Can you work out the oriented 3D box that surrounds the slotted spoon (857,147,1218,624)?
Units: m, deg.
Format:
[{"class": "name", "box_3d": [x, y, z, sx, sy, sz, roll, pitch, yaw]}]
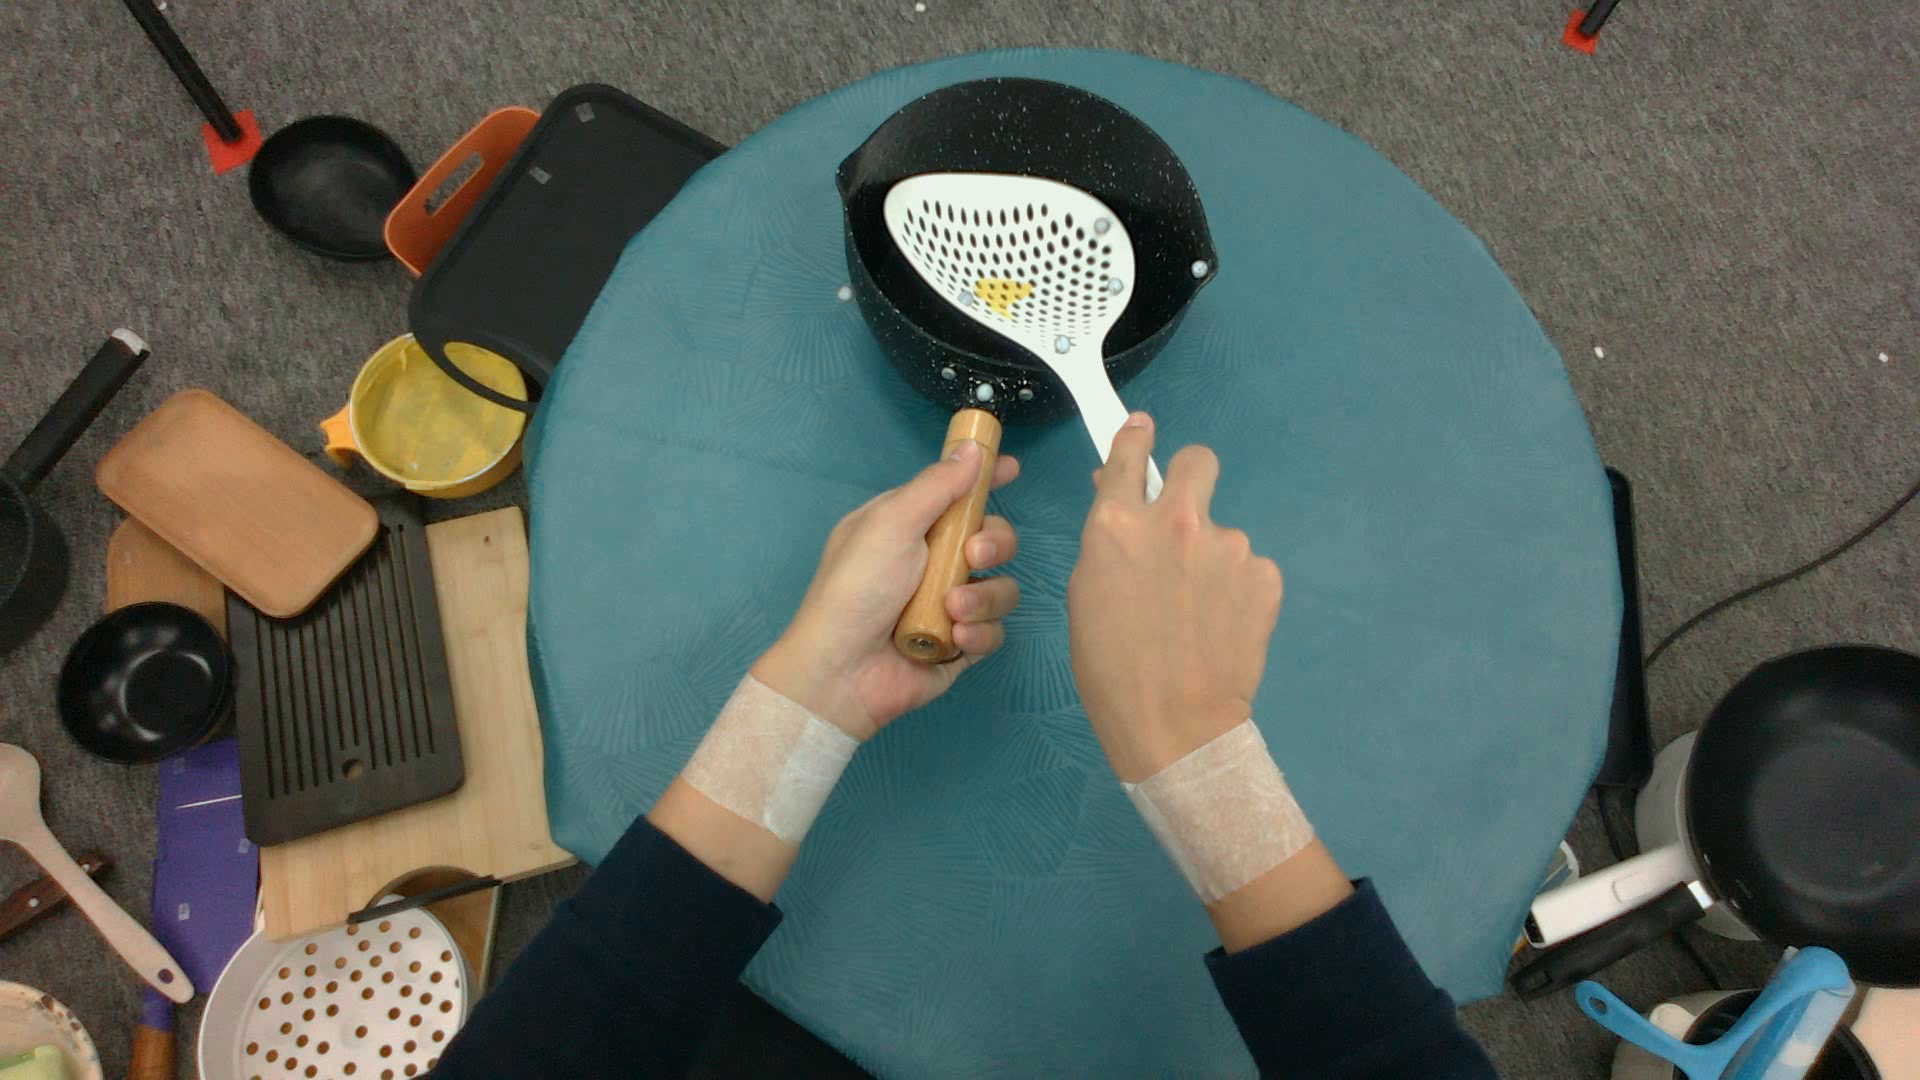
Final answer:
[{"class": "slotted spoon", "box_3d": [0.044, -0.094, 0.667, 0.137, 0.050, 0.349, -5, 41, -19]}]

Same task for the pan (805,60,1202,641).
[{"class": "pan", "box_3d": [0.007, -0.090, 0.686, 0.207, 0.108, 0.344, 12, 62, -2]}]
